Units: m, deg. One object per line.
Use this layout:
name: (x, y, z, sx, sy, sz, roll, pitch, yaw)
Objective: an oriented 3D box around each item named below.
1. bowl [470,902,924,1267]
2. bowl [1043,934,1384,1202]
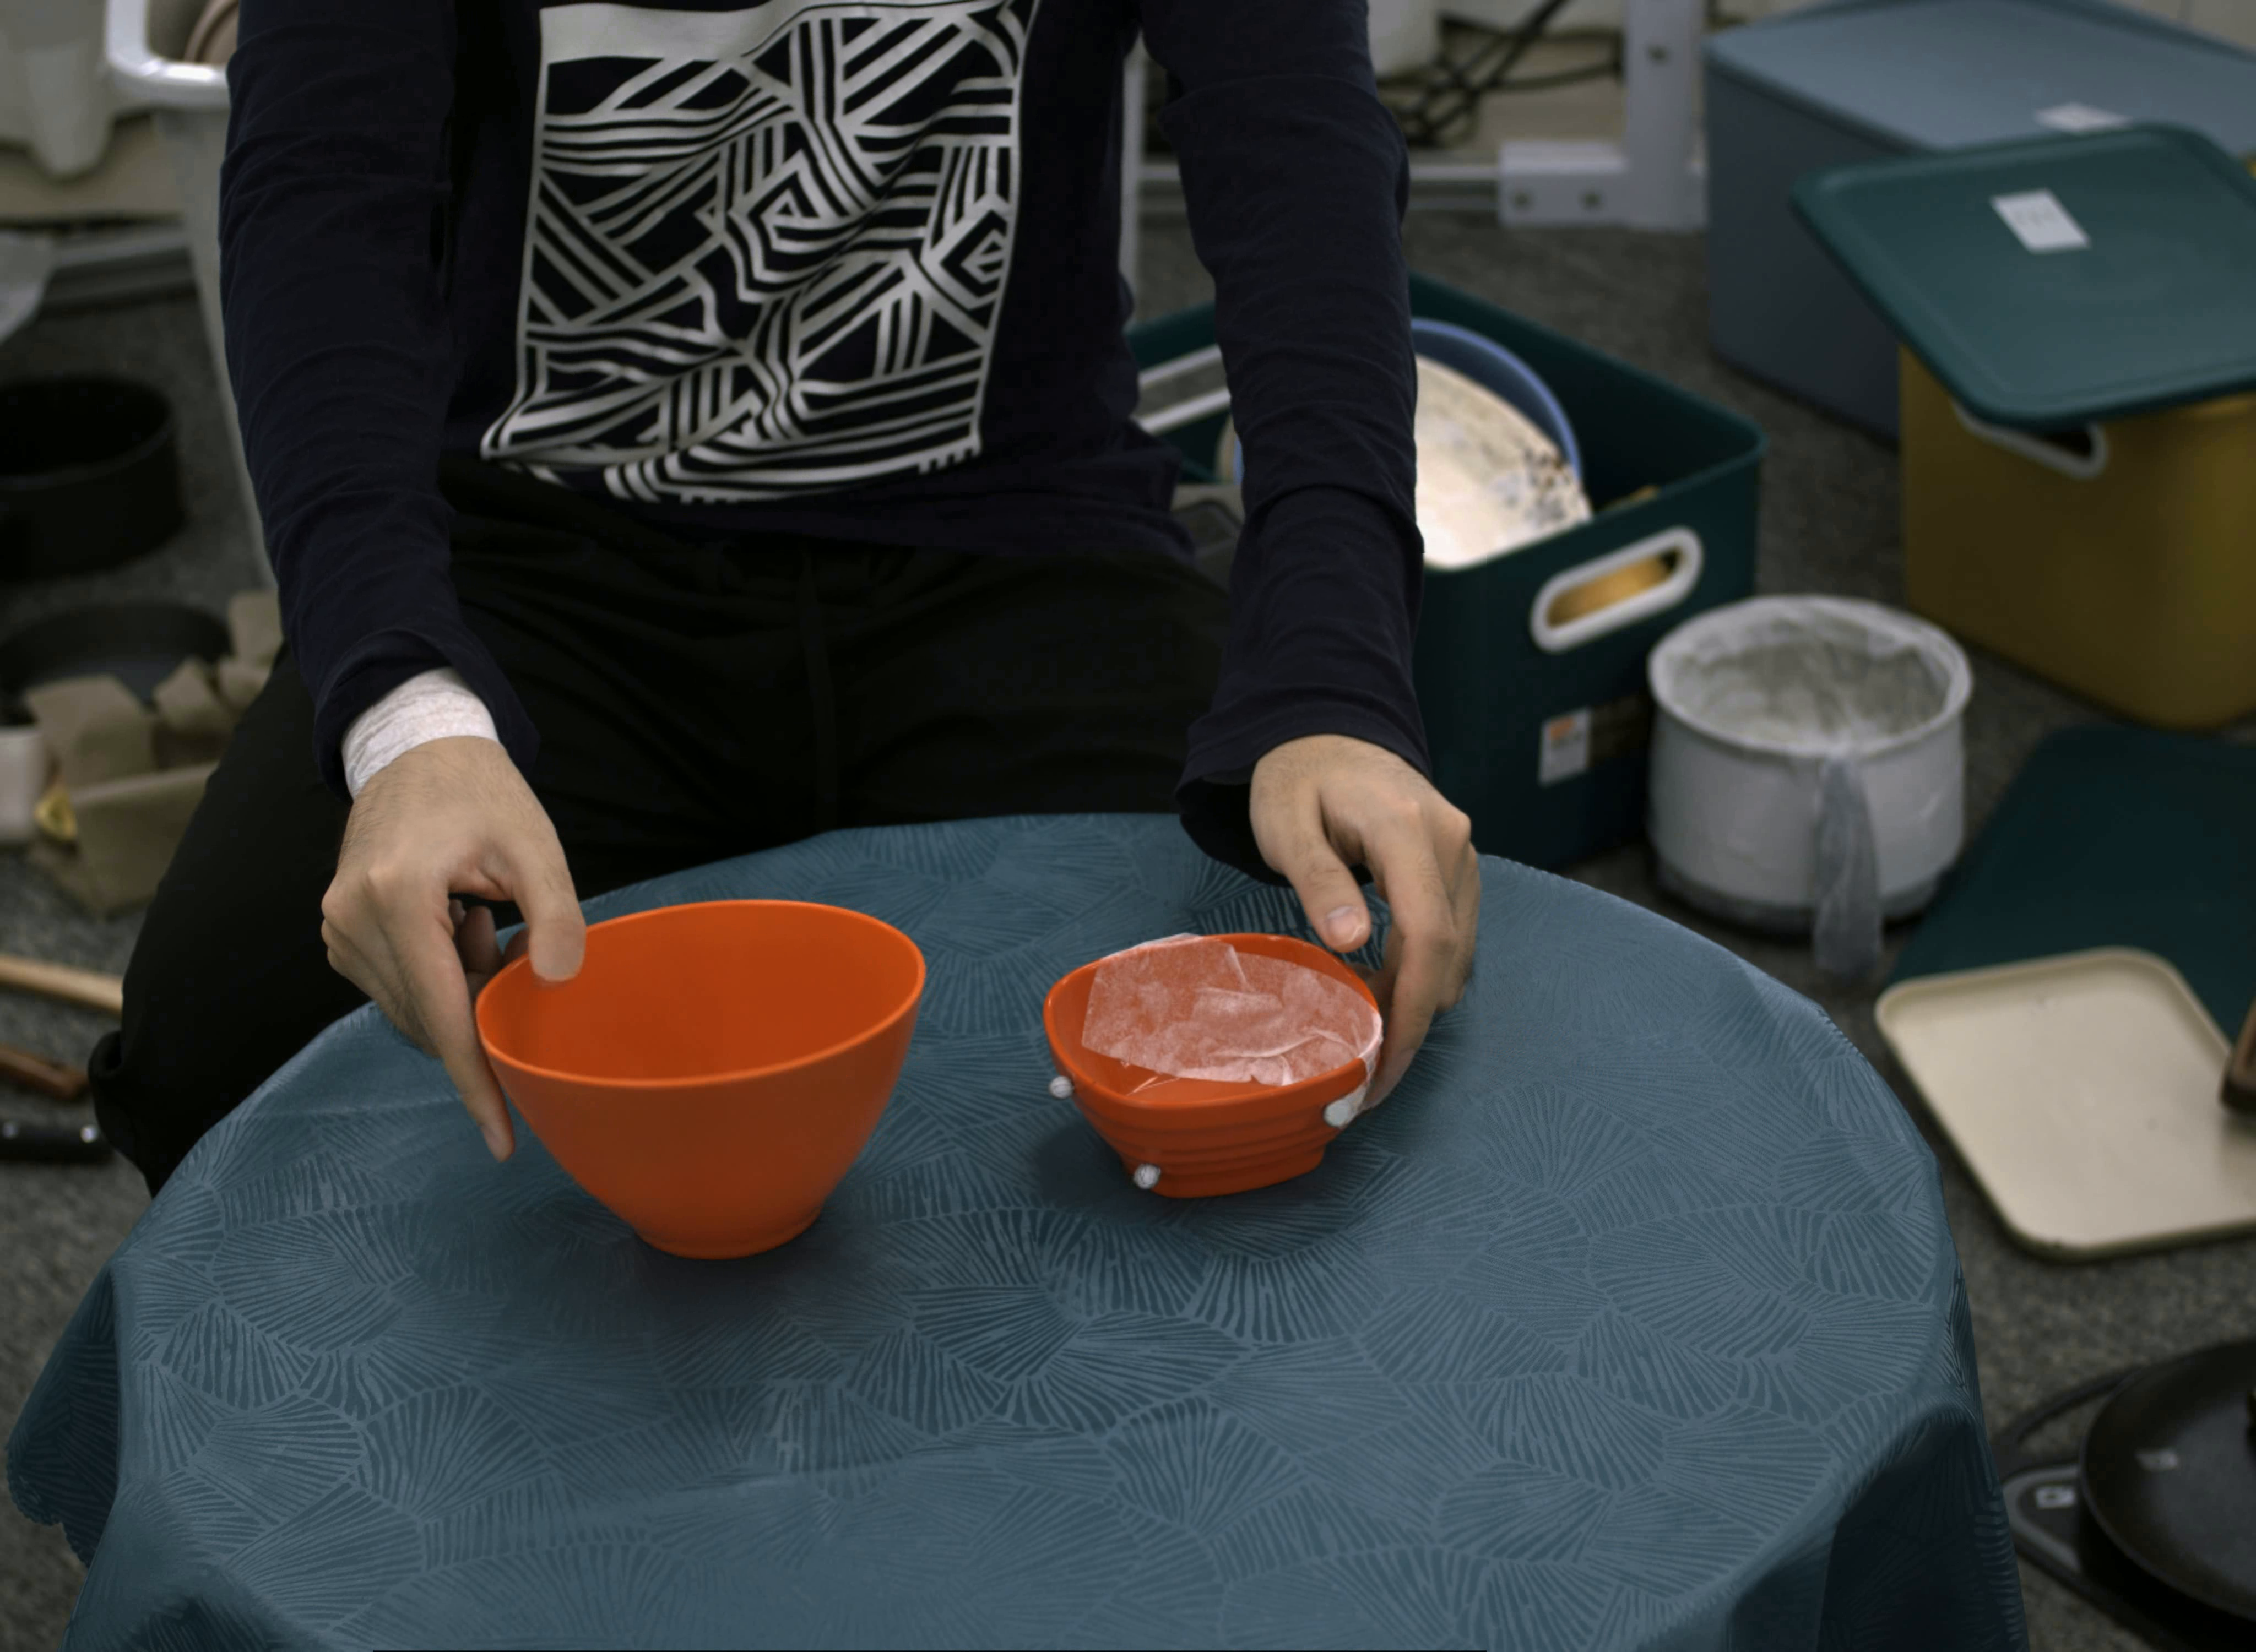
bowl: (-0.136, 0.090, 1.827, 0.147, 0.103, 0.150, -3, 30, 2)
bowl: (0.030, 0.085, 1.877, 0.118, 0.051, 0.120, -4, 26, 2)
